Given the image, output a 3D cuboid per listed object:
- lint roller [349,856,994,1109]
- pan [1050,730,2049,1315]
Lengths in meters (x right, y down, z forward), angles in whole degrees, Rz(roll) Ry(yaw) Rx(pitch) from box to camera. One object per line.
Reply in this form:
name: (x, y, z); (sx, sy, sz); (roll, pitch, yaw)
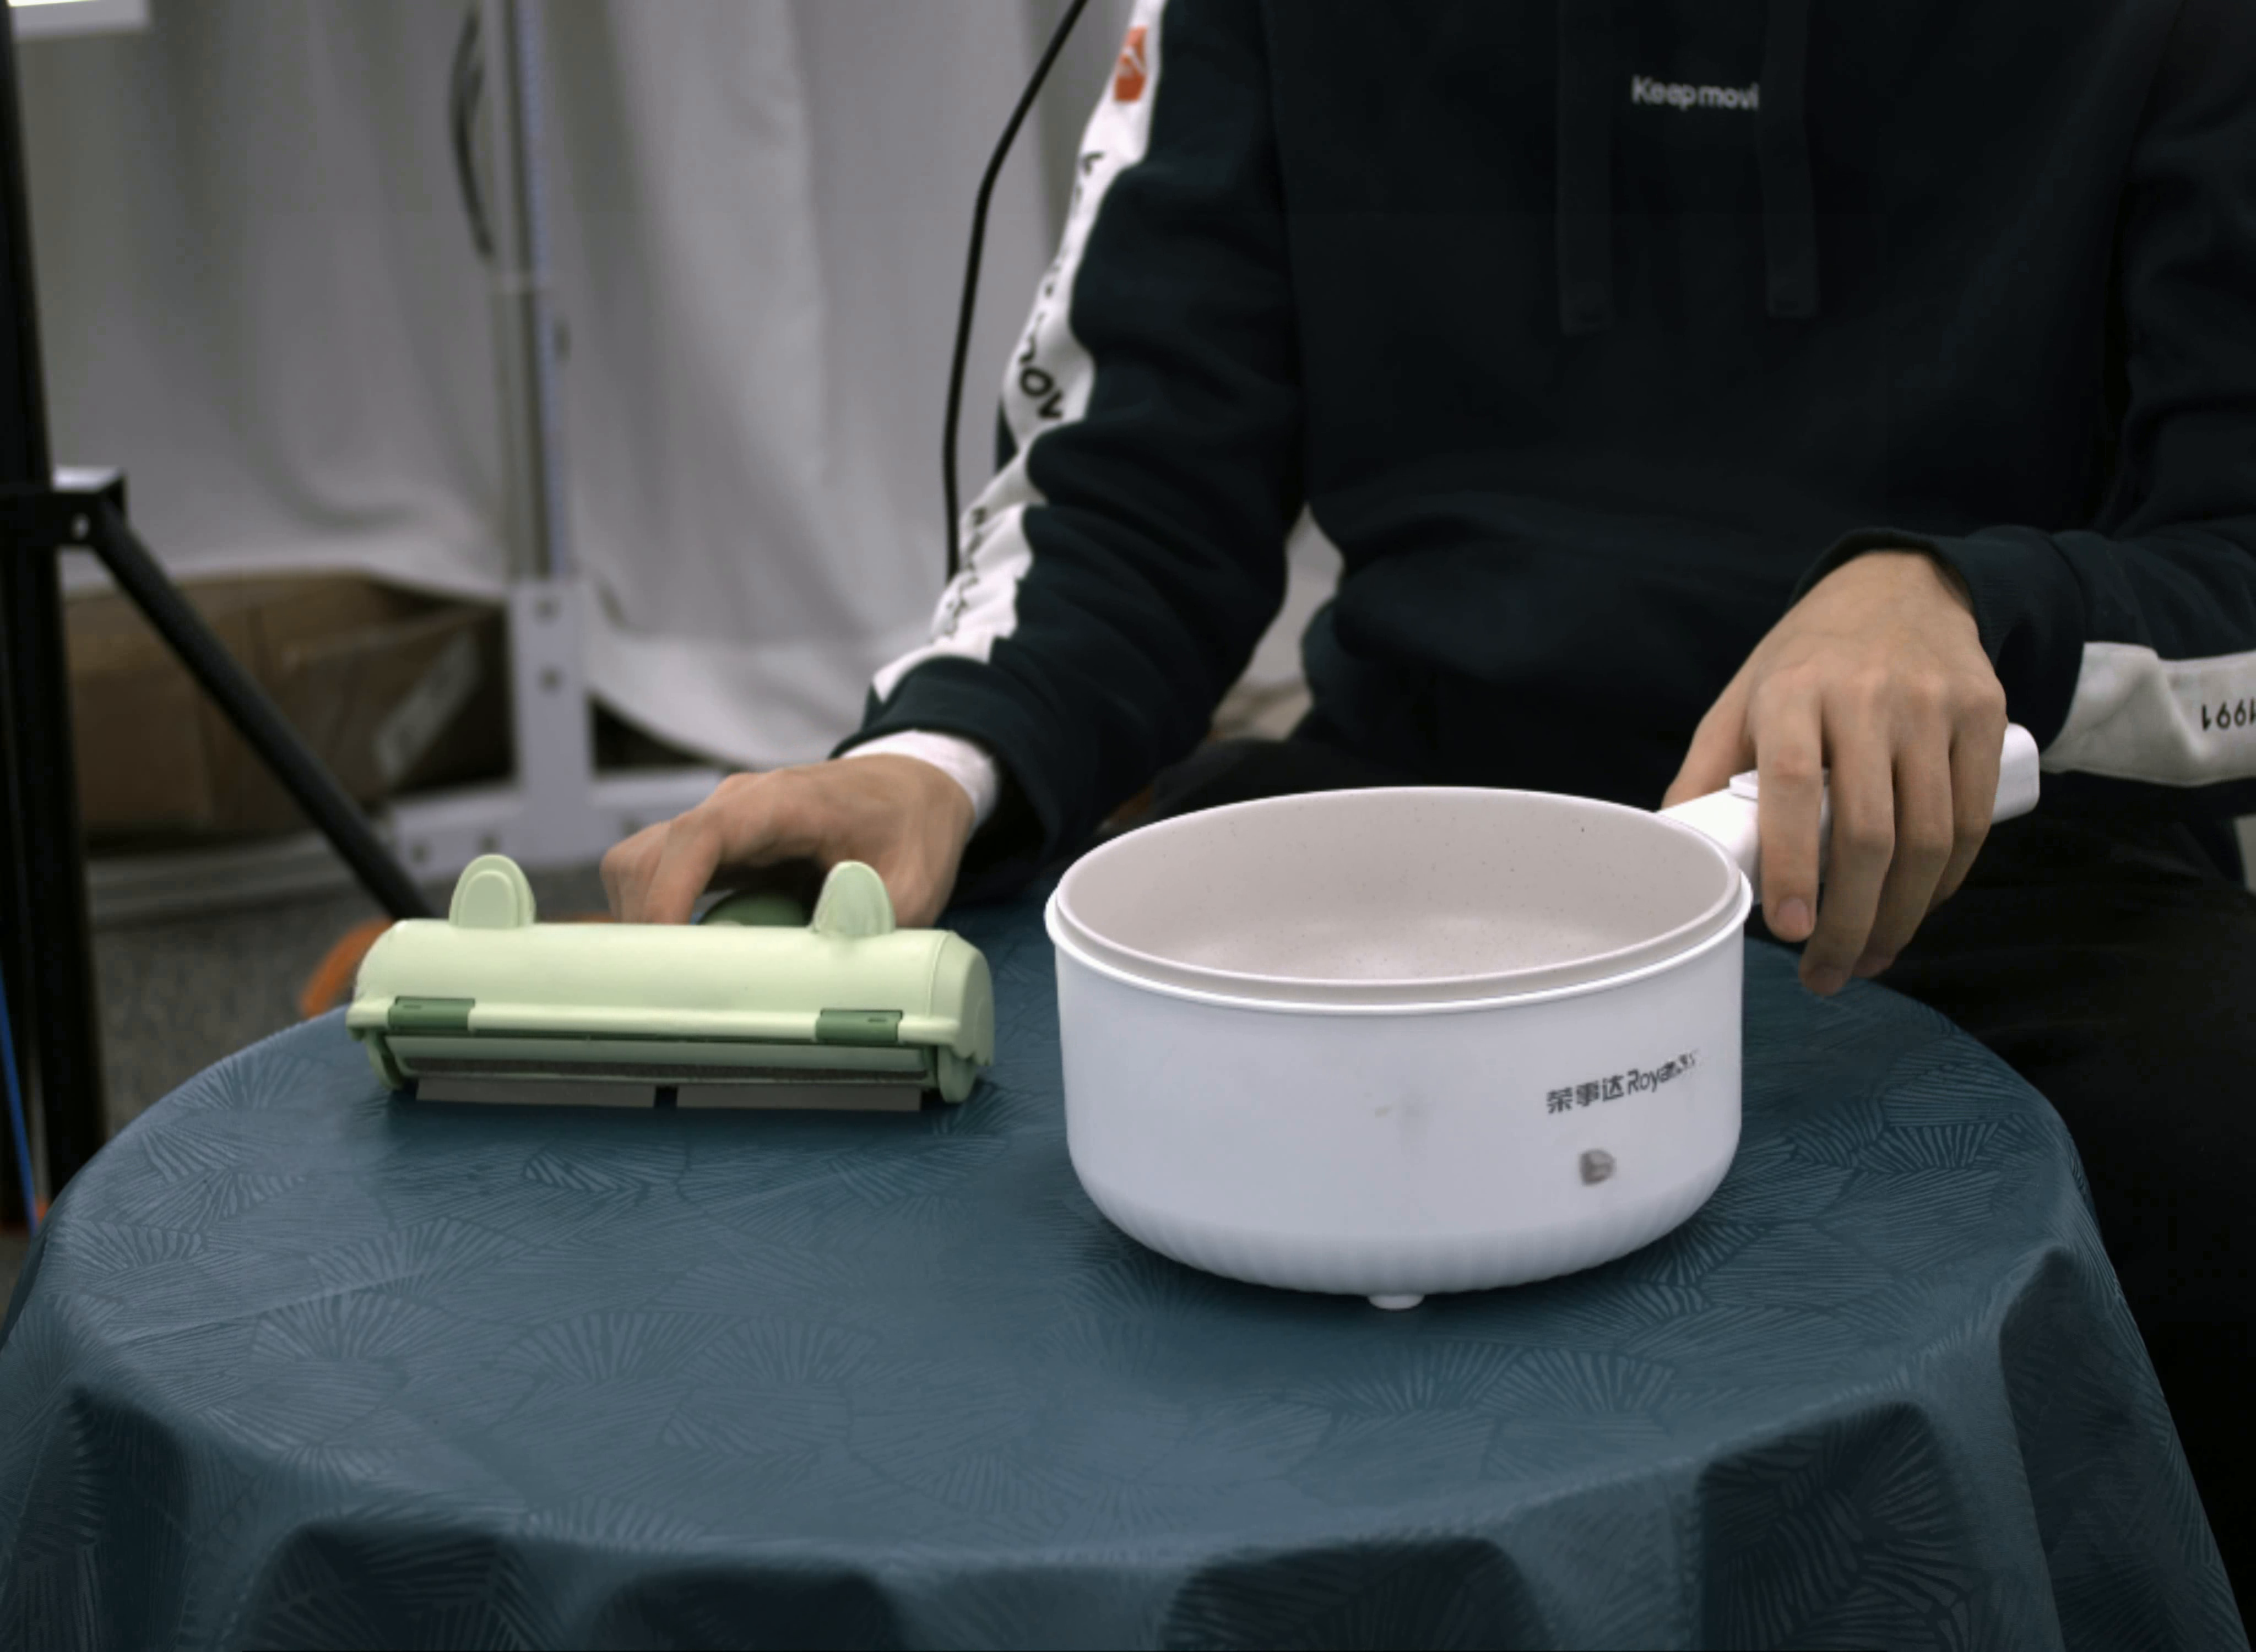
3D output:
lint roller: (-0.132, 0.032, 1.711); (0.200, 0.082, 0.182); (0, 21, 13)
pan: (0.138, 0.051, 1.559); (0.346, 0.102, 0.206); (-14, 18, -36)
